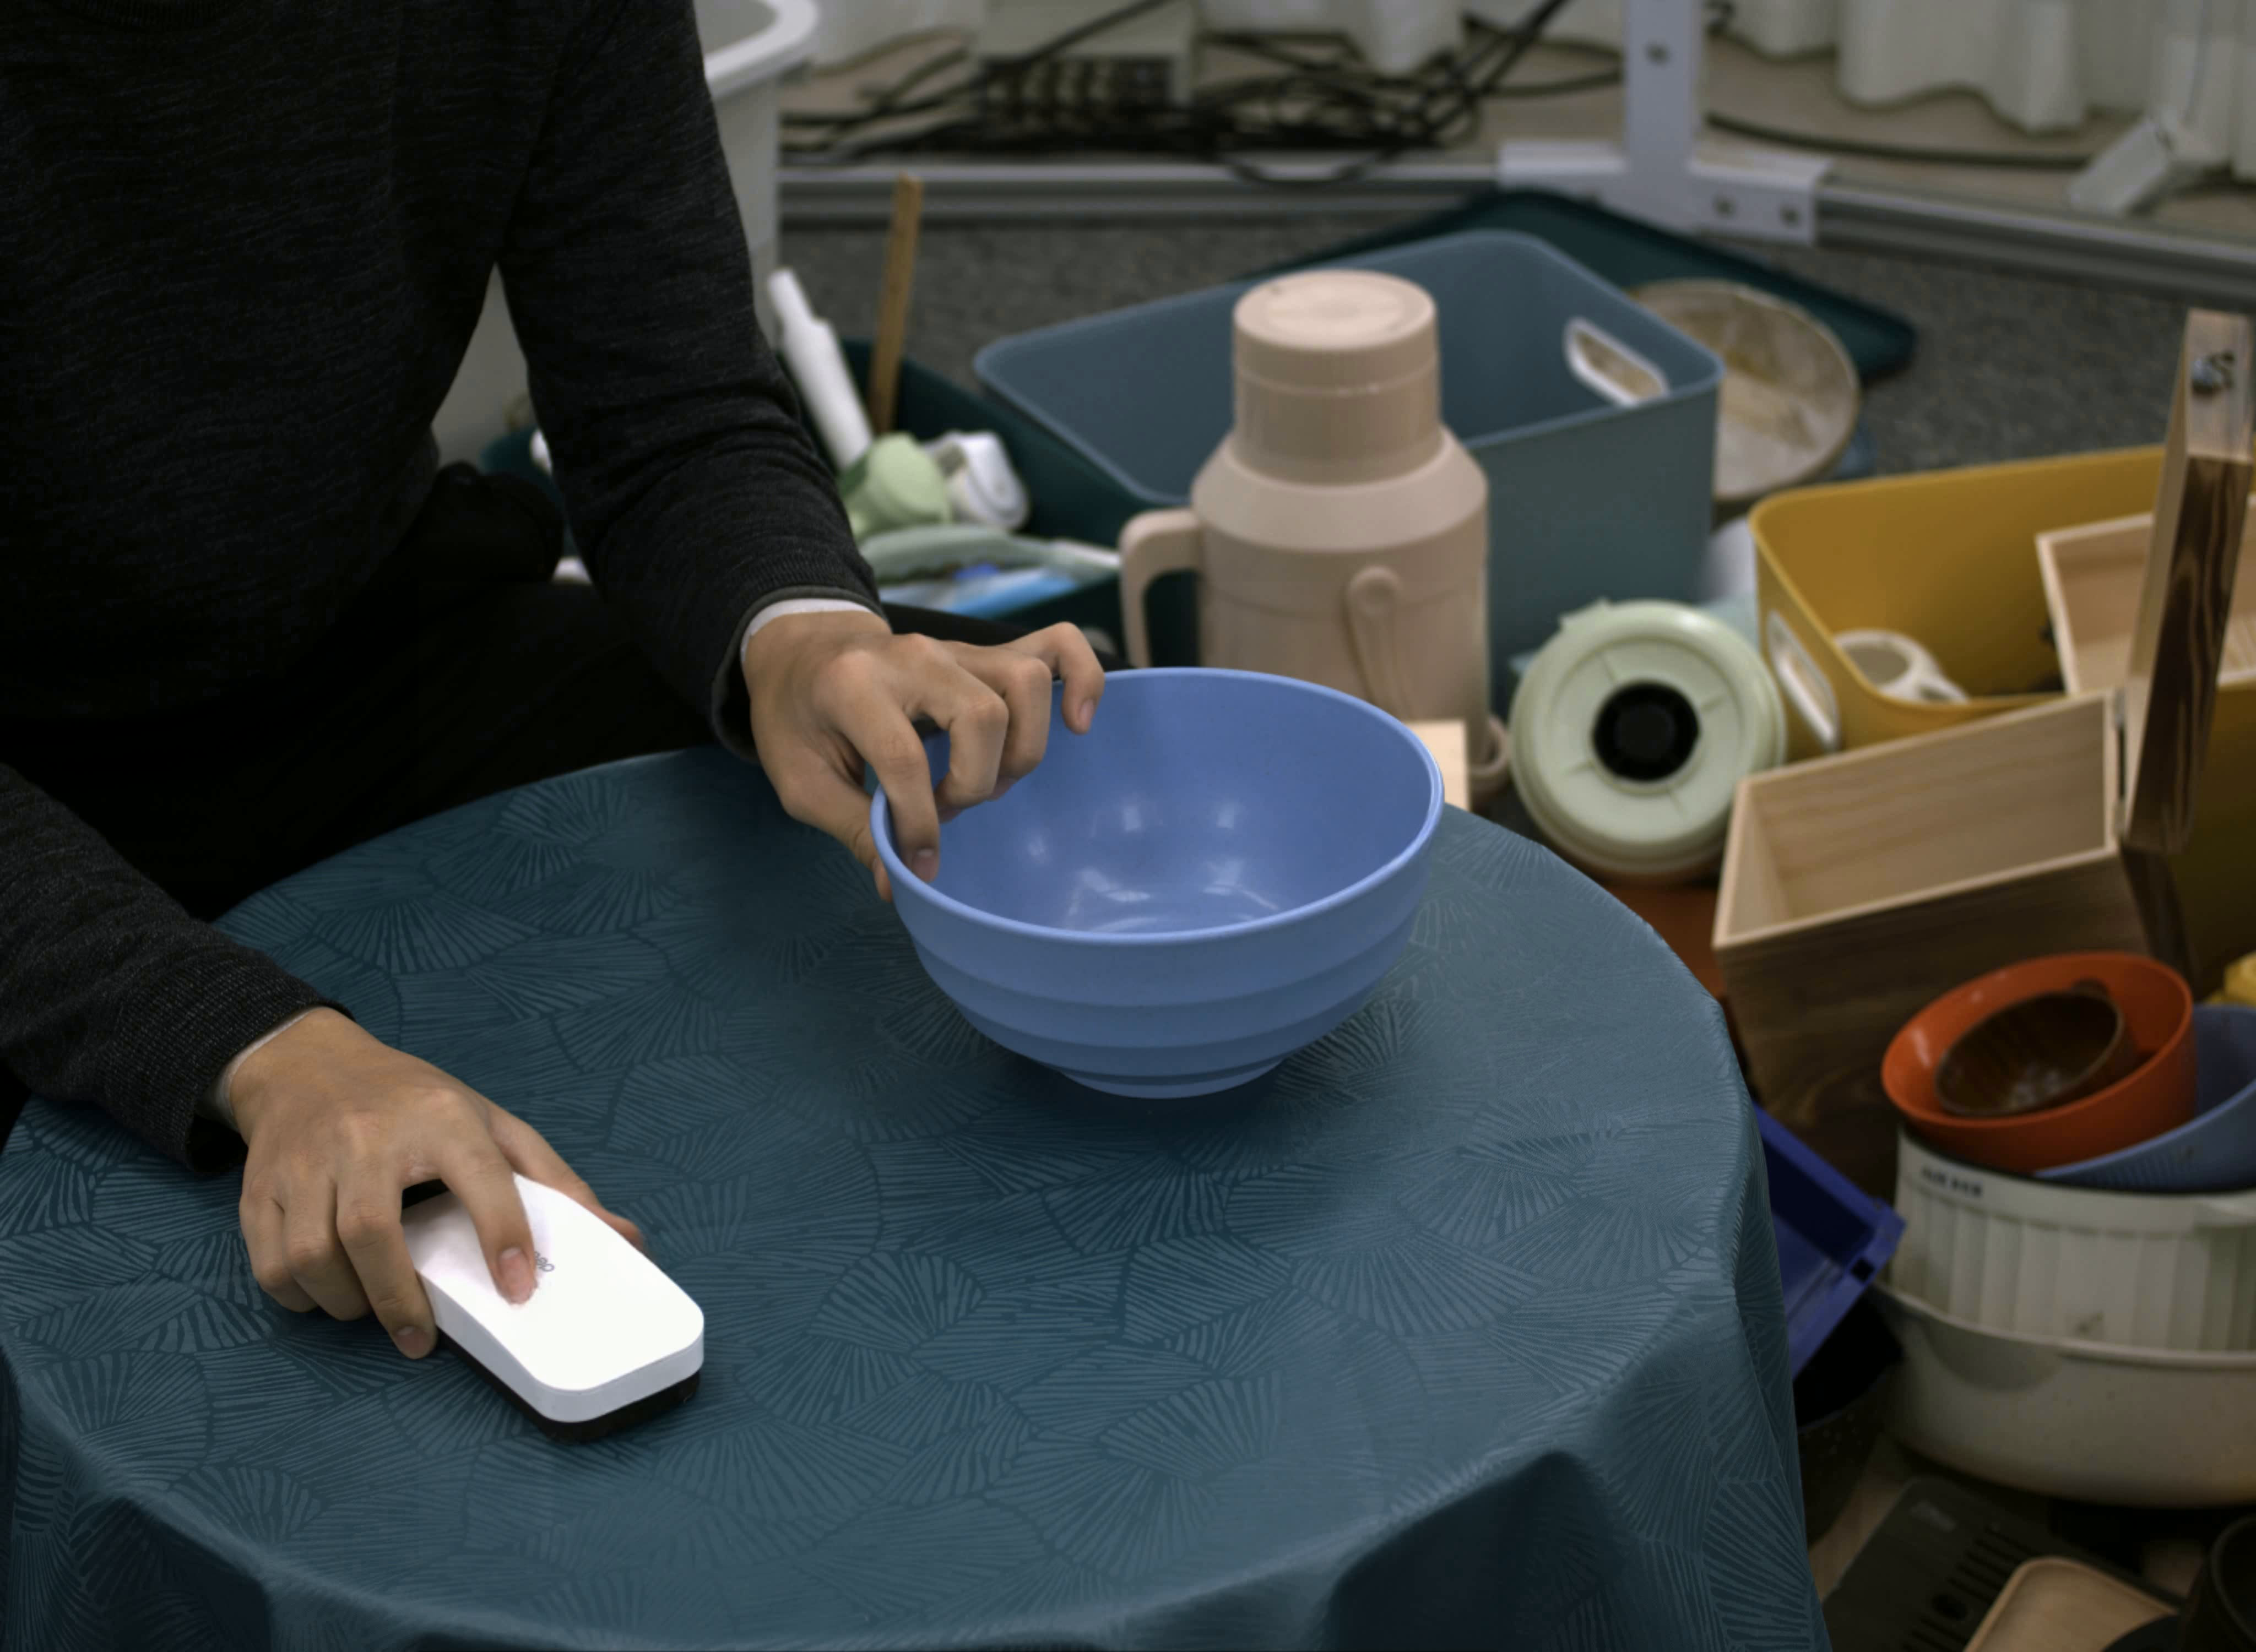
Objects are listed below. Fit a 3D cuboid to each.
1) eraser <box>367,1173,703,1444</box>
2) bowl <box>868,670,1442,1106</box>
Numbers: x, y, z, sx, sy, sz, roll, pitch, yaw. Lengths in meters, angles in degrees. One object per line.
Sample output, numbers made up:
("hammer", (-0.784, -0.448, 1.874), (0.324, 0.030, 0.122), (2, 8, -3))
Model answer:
("eraser", (-0.189, 0.150, 1.791), (0.064, 0.034, 0.131), (-20, 33, -30))
("bowl", (0.012, 0.033, 1.934), (0.195, 0.094, 0.199), (-3, 28, 2))
